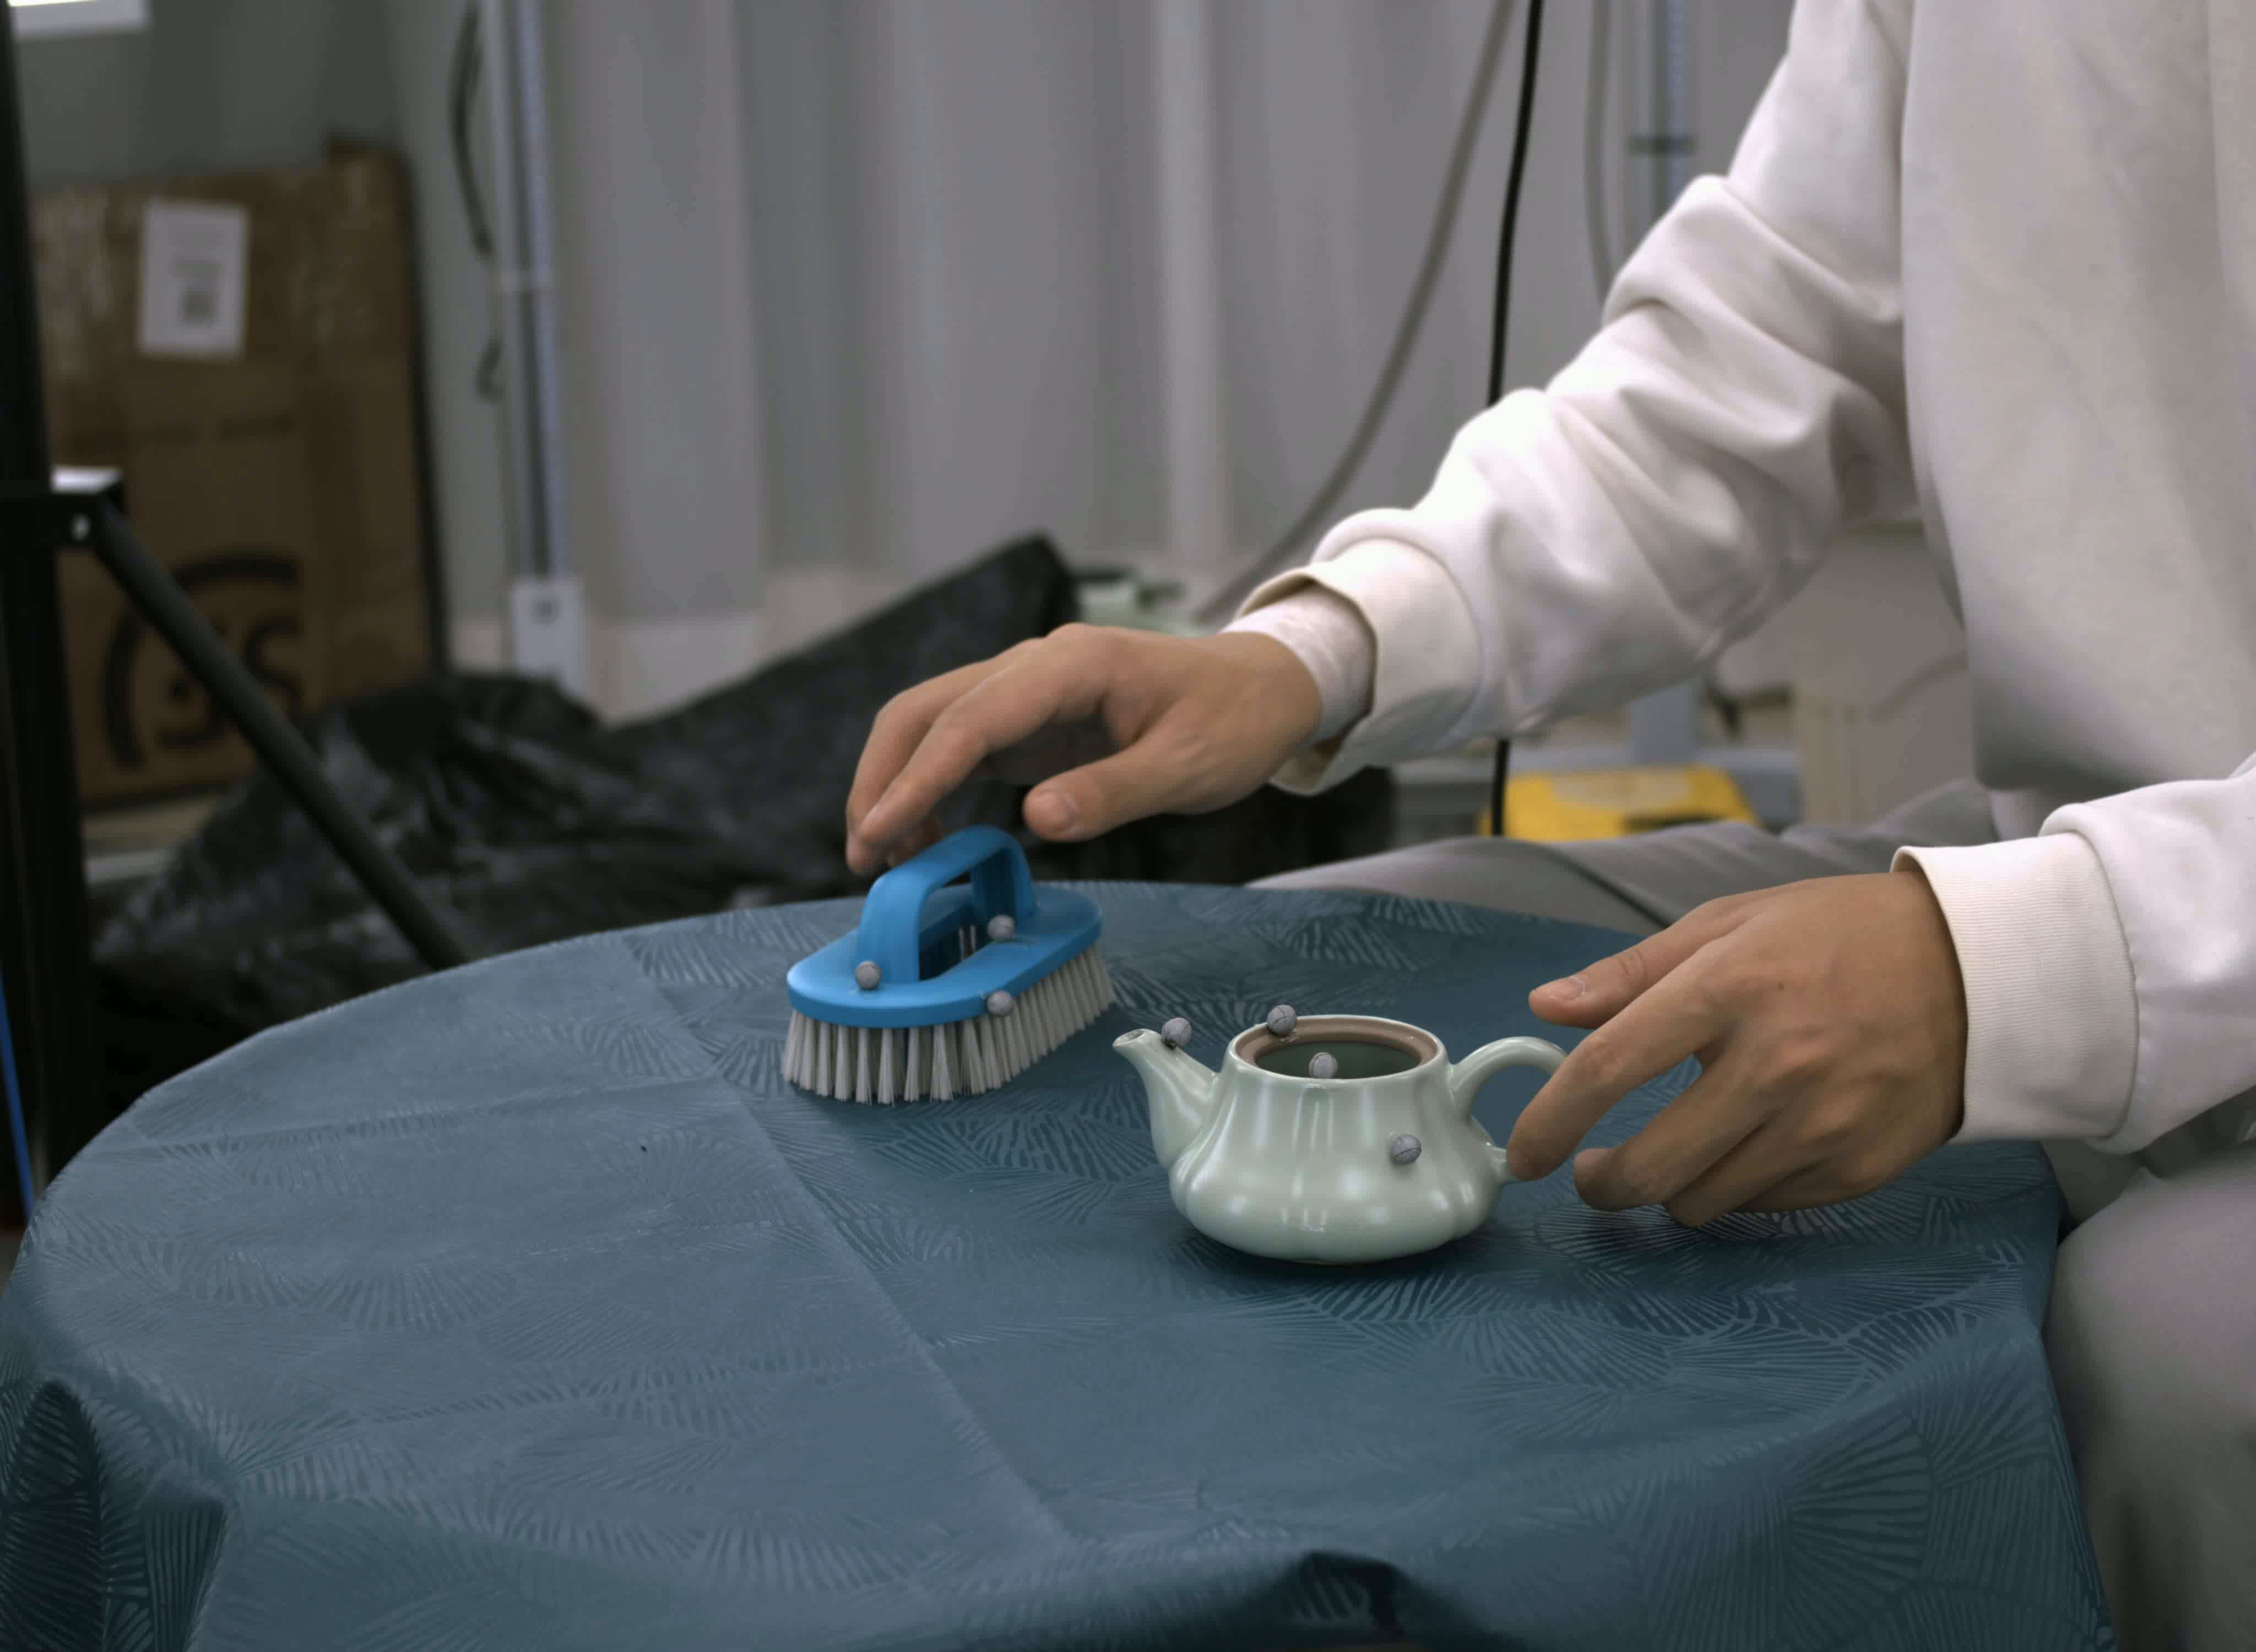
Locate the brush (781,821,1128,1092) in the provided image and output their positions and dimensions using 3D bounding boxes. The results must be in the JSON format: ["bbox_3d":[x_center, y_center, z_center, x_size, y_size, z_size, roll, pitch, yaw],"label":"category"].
[{"bbox_3d":[-0.057,0.036,1.702,0.085,0.064,0.139,0,14,27],"label":"brush"}]

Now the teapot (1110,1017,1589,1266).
[{"bbox_3d":[0.063,0.089,1.511,0.137,0.061,0.096,0,13,9],"label":"teapot"}]
